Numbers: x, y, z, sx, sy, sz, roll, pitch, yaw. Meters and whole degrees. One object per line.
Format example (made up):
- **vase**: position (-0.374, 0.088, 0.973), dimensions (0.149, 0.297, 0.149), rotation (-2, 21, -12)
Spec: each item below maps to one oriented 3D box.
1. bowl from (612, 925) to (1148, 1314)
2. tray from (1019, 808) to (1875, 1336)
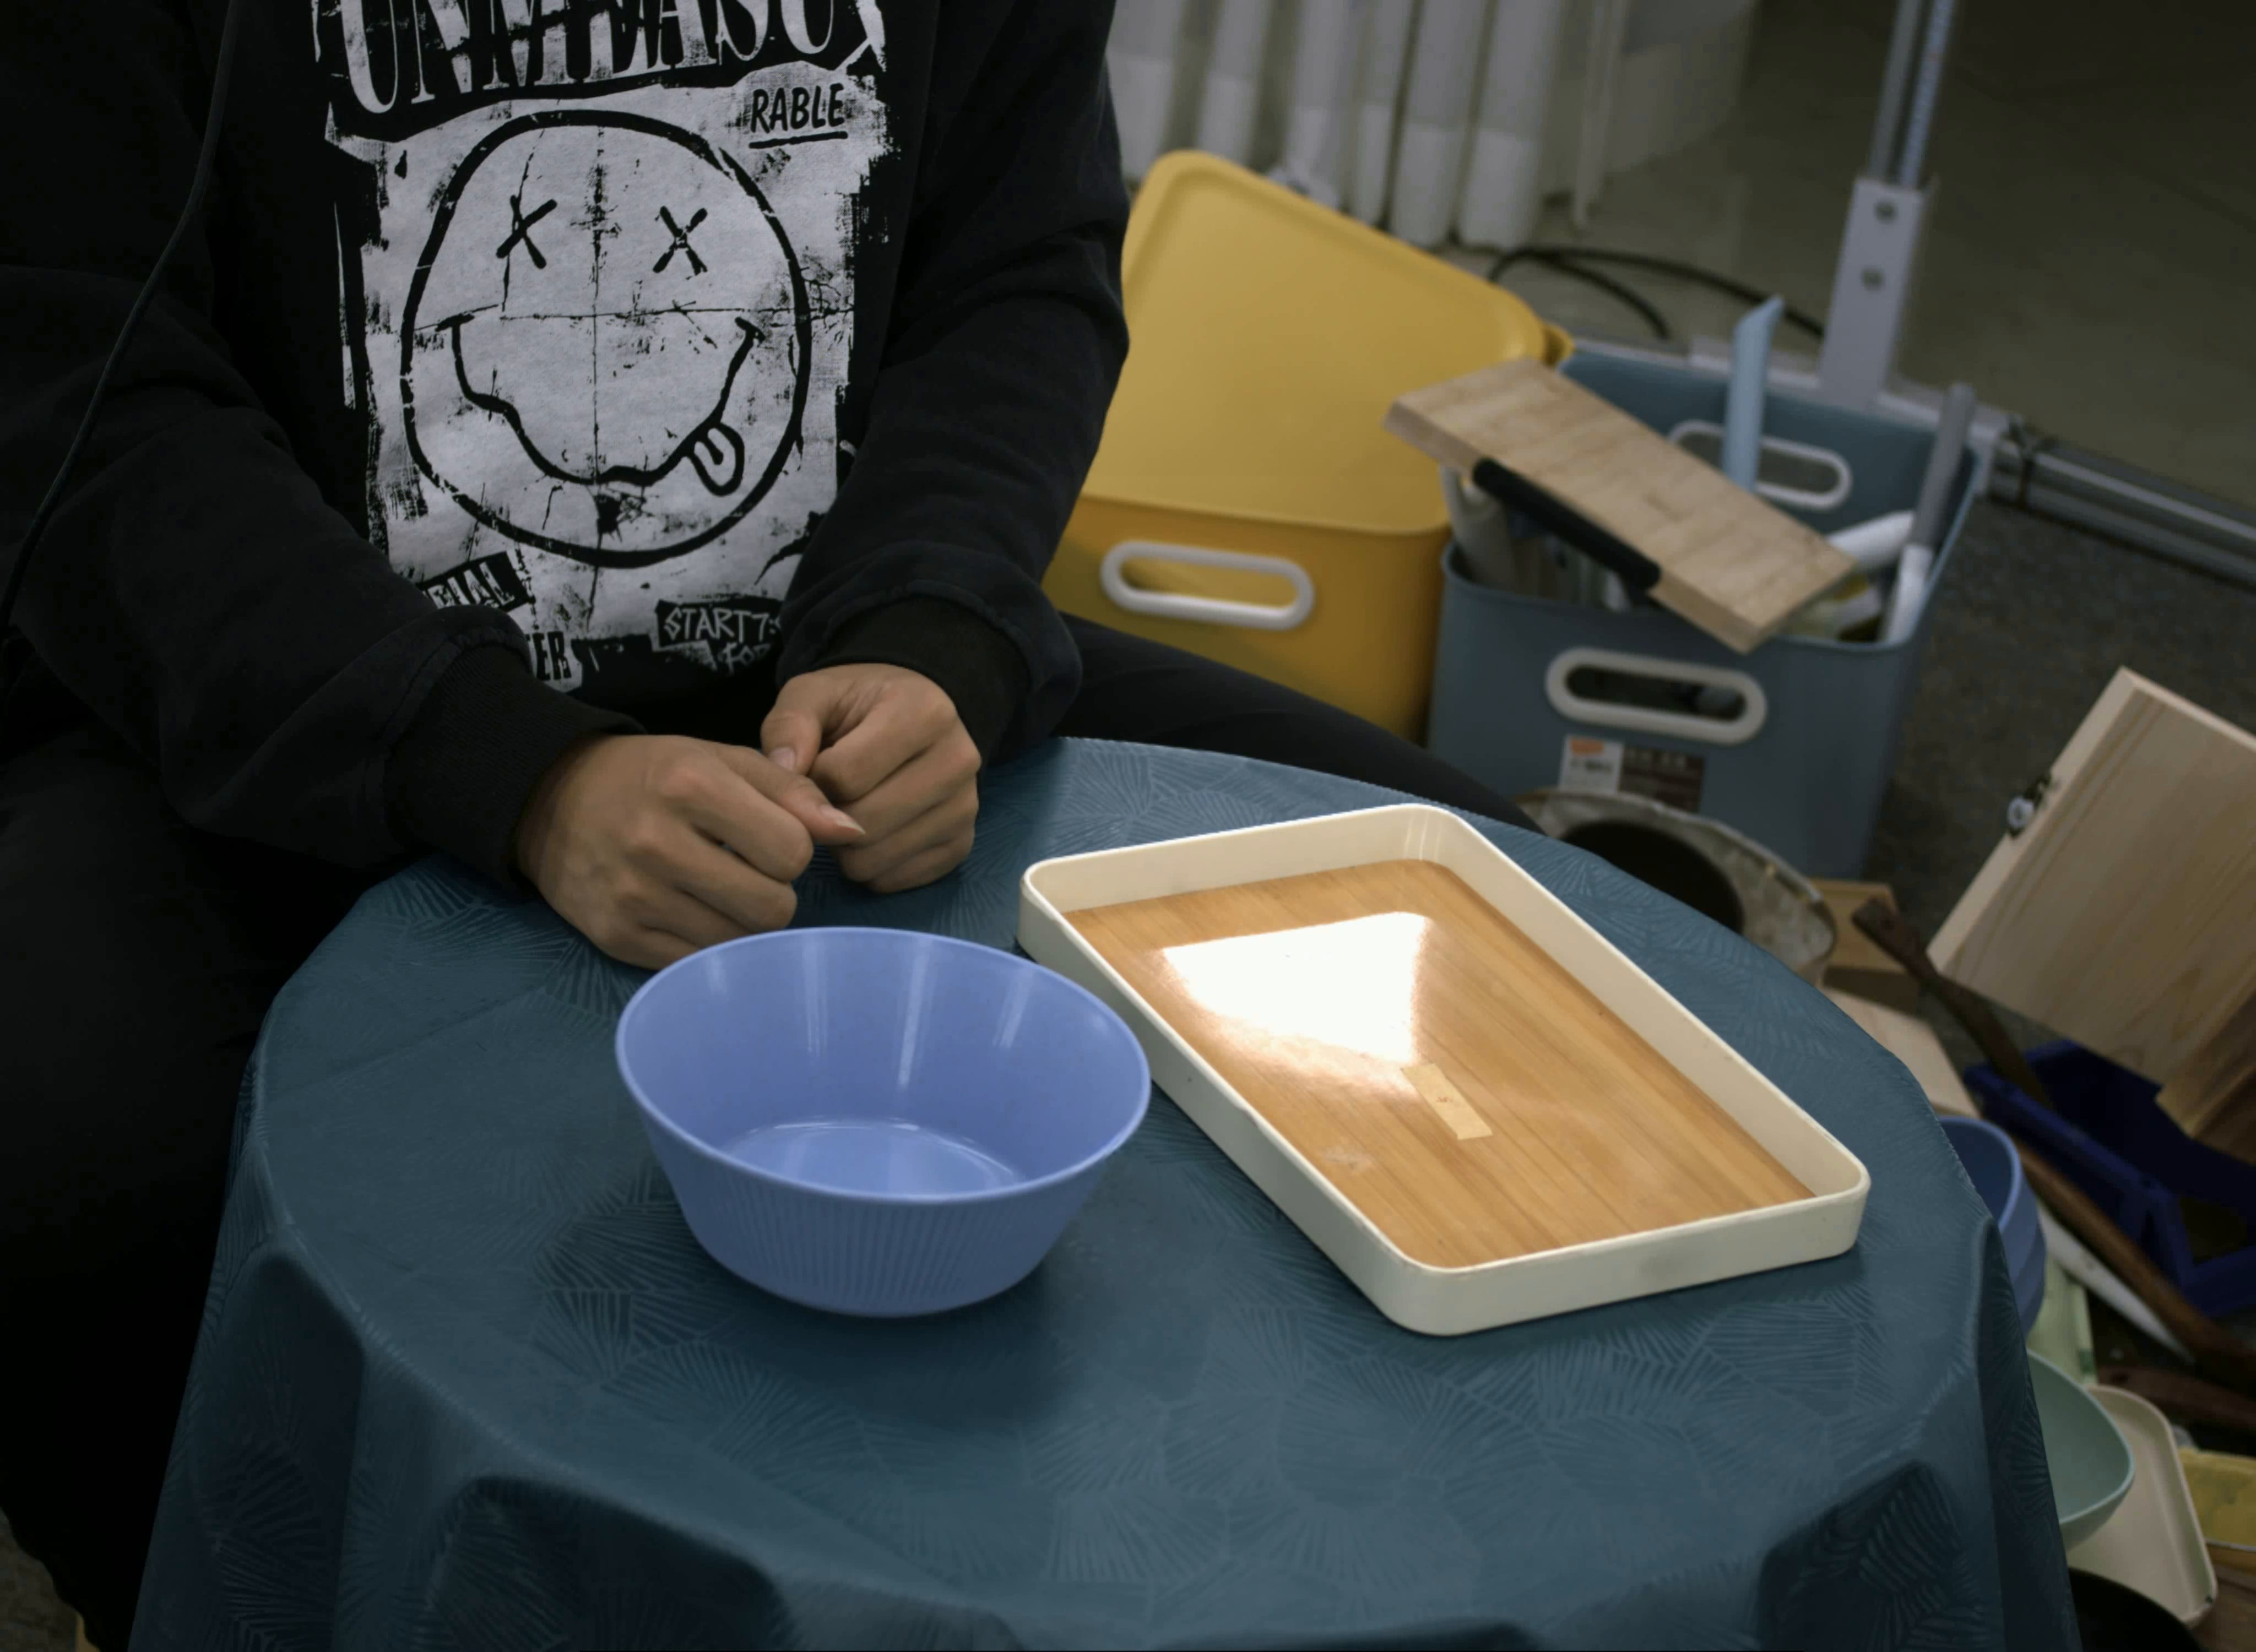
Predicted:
- **bowl**: position (-0.084, 0.102, 1.744), dimensions (0.175, 0.070, 0.177), rotation (6, 27, -3)
- **tray**: position (0.107, 0.081, 1.881), dimensions (0.190, 0.027, 0.303), rotation (-8, 30, -27)
